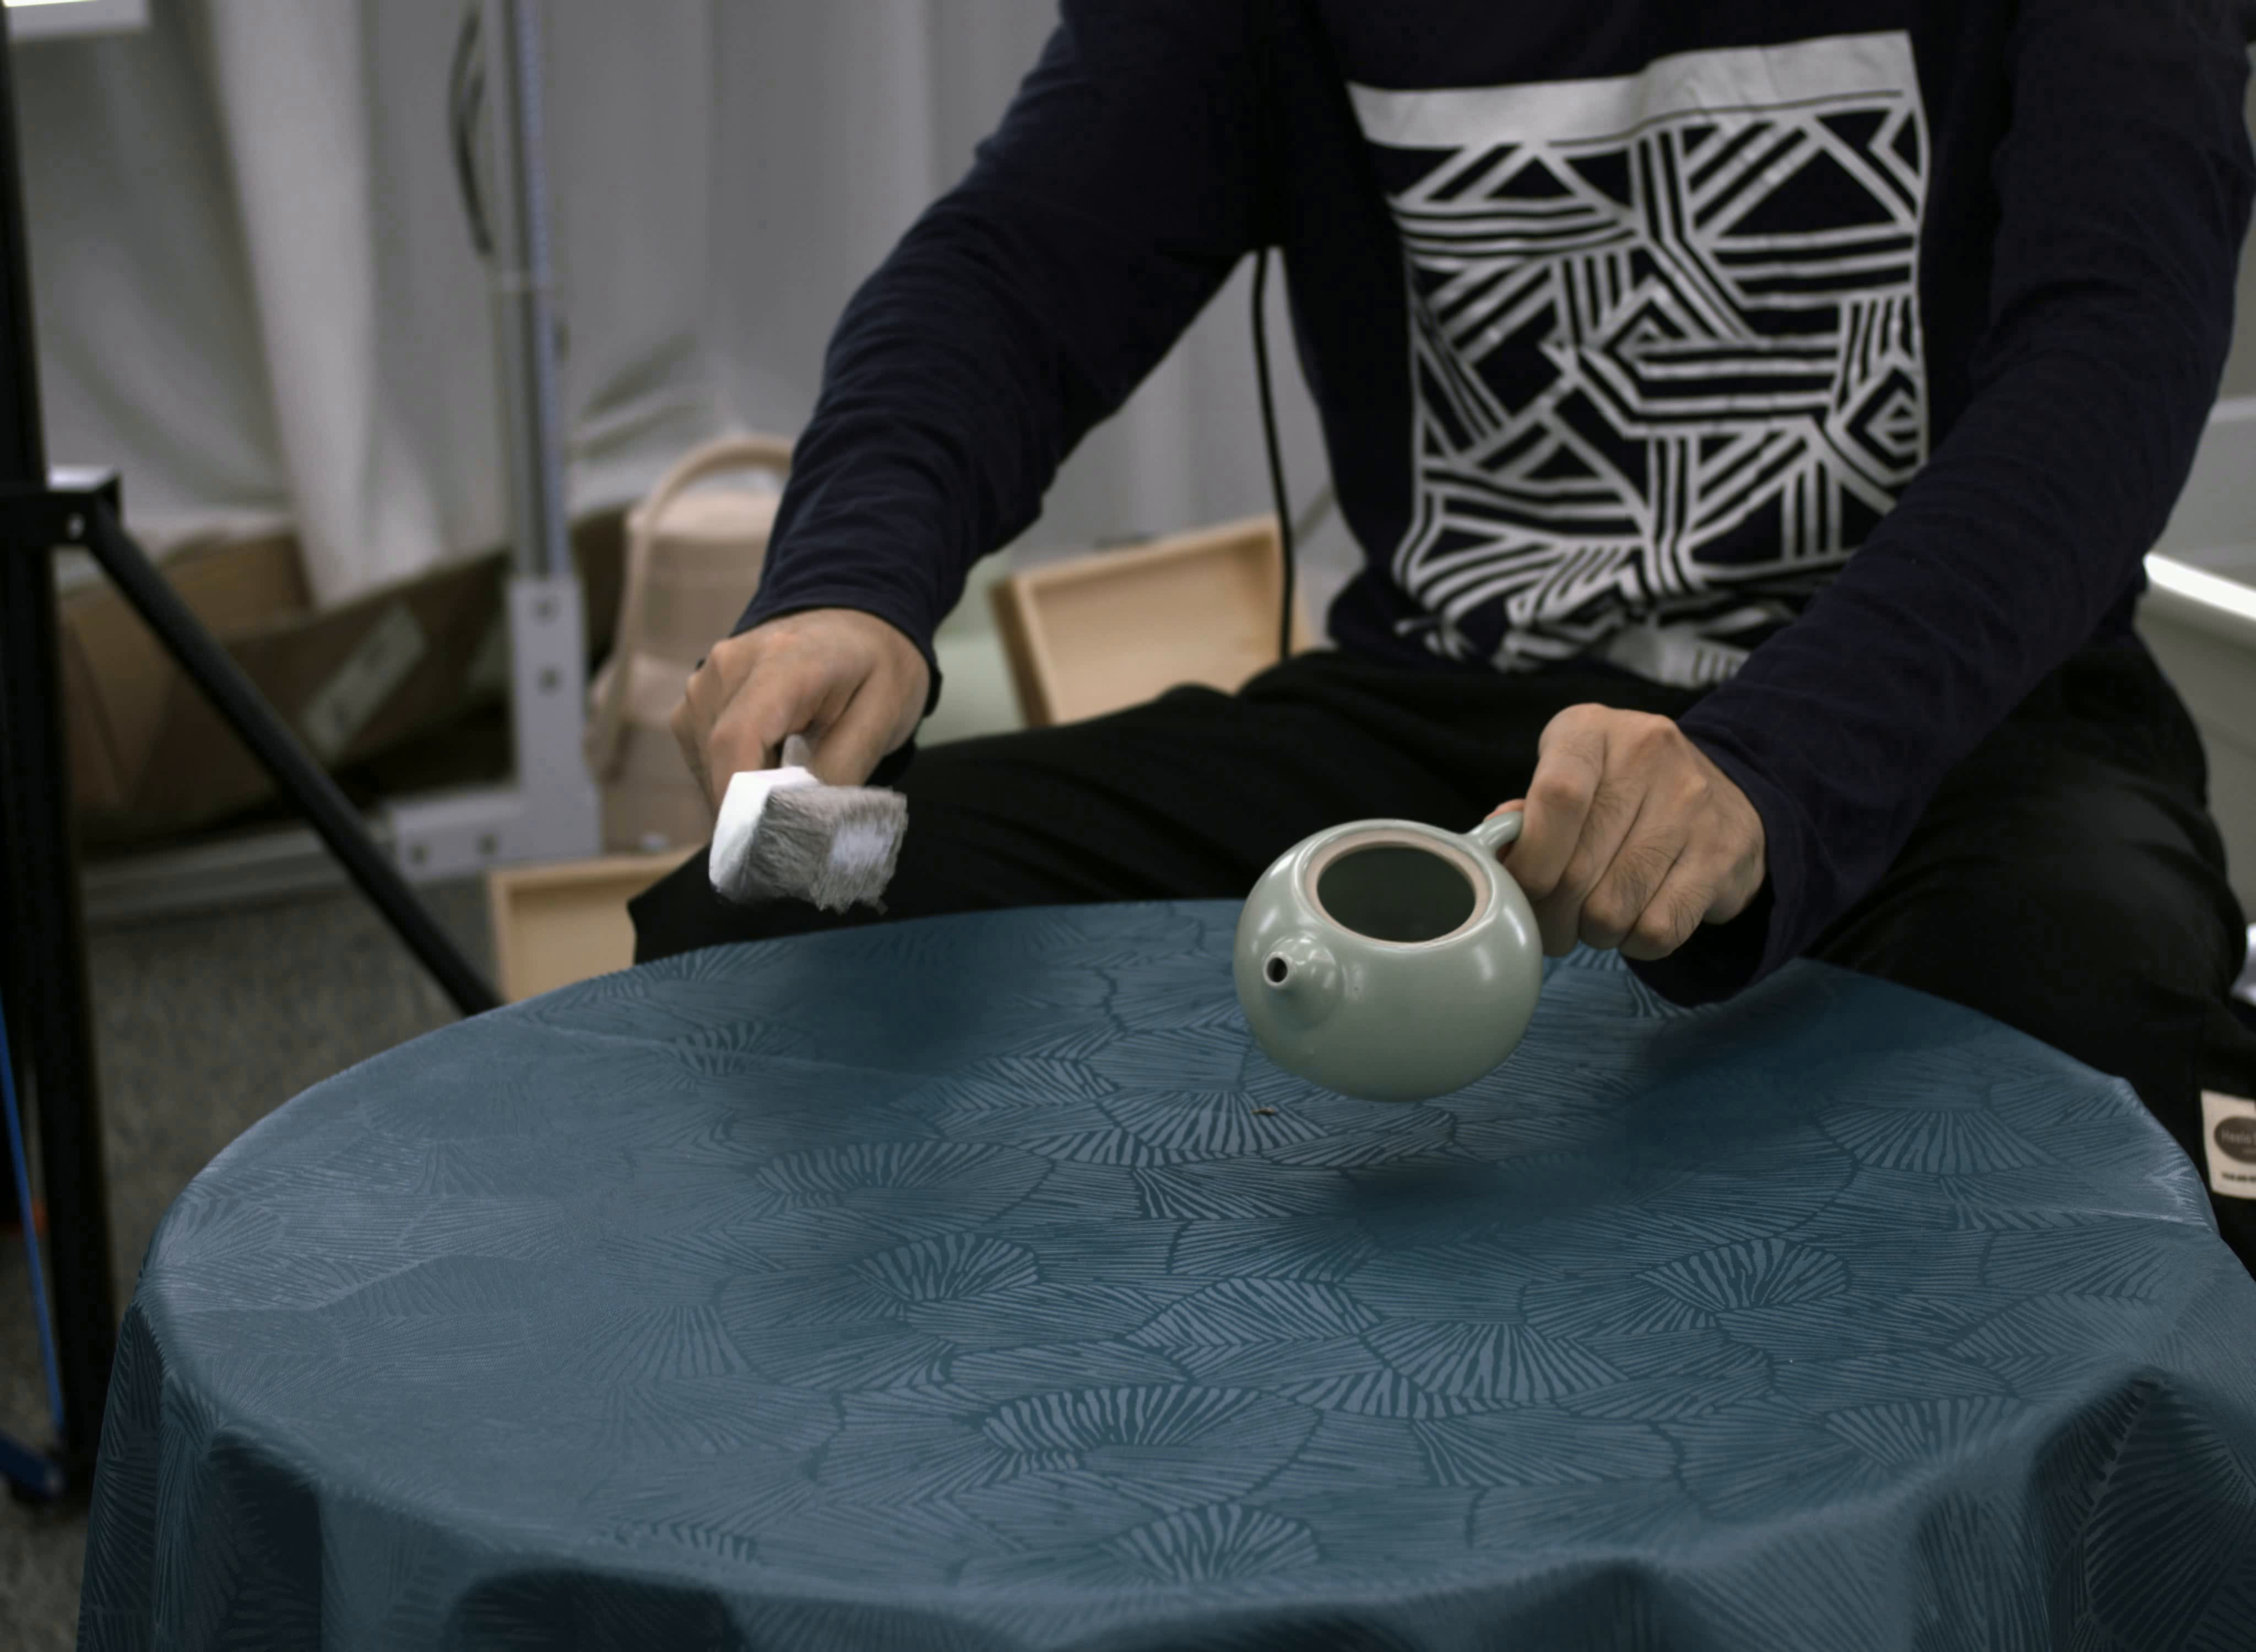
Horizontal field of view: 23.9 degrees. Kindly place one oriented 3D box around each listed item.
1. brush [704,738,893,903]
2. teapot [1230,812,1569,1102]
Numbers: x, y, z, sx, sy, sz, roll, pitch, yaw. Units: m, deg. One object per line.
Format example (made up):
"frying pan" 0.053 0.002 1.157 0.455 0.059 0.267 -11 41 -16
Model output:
"brush" -0.095 -0.004 1.647 0.050 0.034 0.243 16 4 0
"teapot" 0.083 0.037 1.561 0.126 0.060 0.093 -26 42 -31
